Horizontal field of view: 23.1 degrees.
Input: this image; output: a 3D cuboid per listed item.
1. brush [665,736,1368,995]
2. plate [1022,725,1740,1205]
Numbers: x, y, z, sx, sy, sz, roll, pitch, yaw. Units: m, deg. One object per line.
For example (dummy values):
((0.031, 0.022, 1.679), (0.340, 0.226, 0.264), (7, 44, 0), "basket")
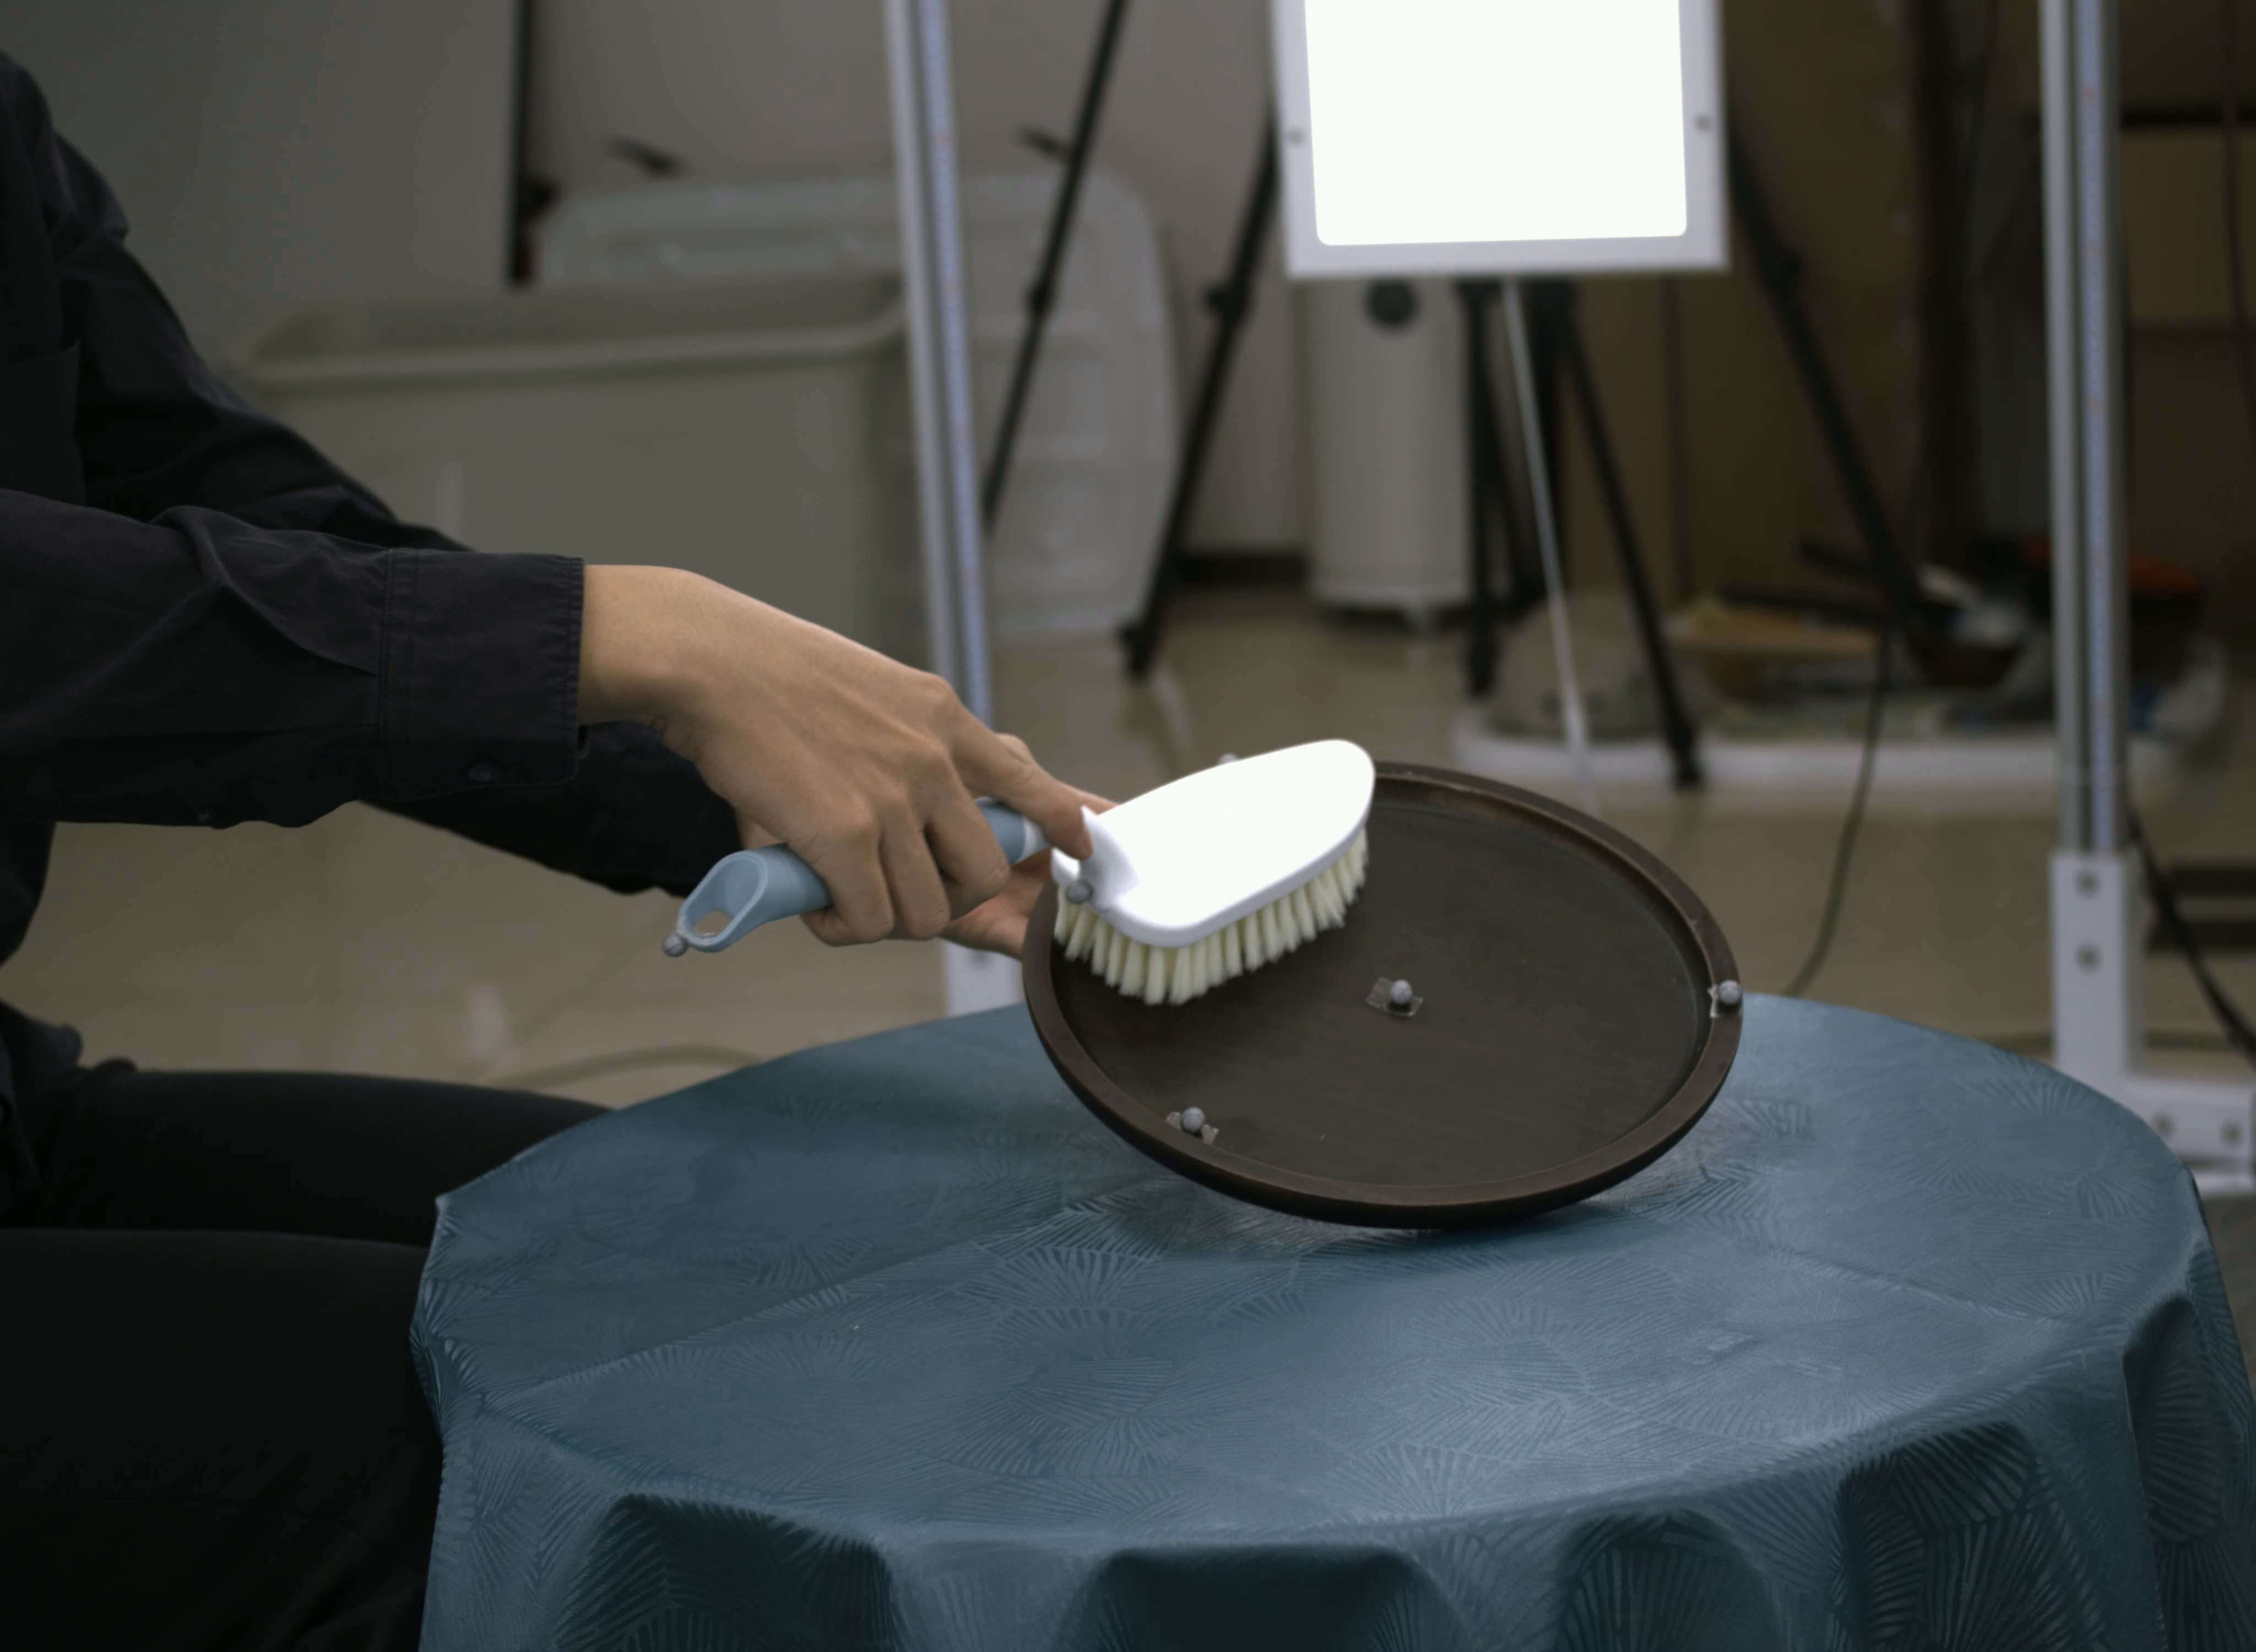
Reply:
((-0.040, 0.028, 1.873), (0.317, 0.085, 0.085), (-13, 1, -43), "brush")
((0.088, 0.047, 1.925), (0.254, 0.029, 0.254), (0, 38, -2), "plate")
